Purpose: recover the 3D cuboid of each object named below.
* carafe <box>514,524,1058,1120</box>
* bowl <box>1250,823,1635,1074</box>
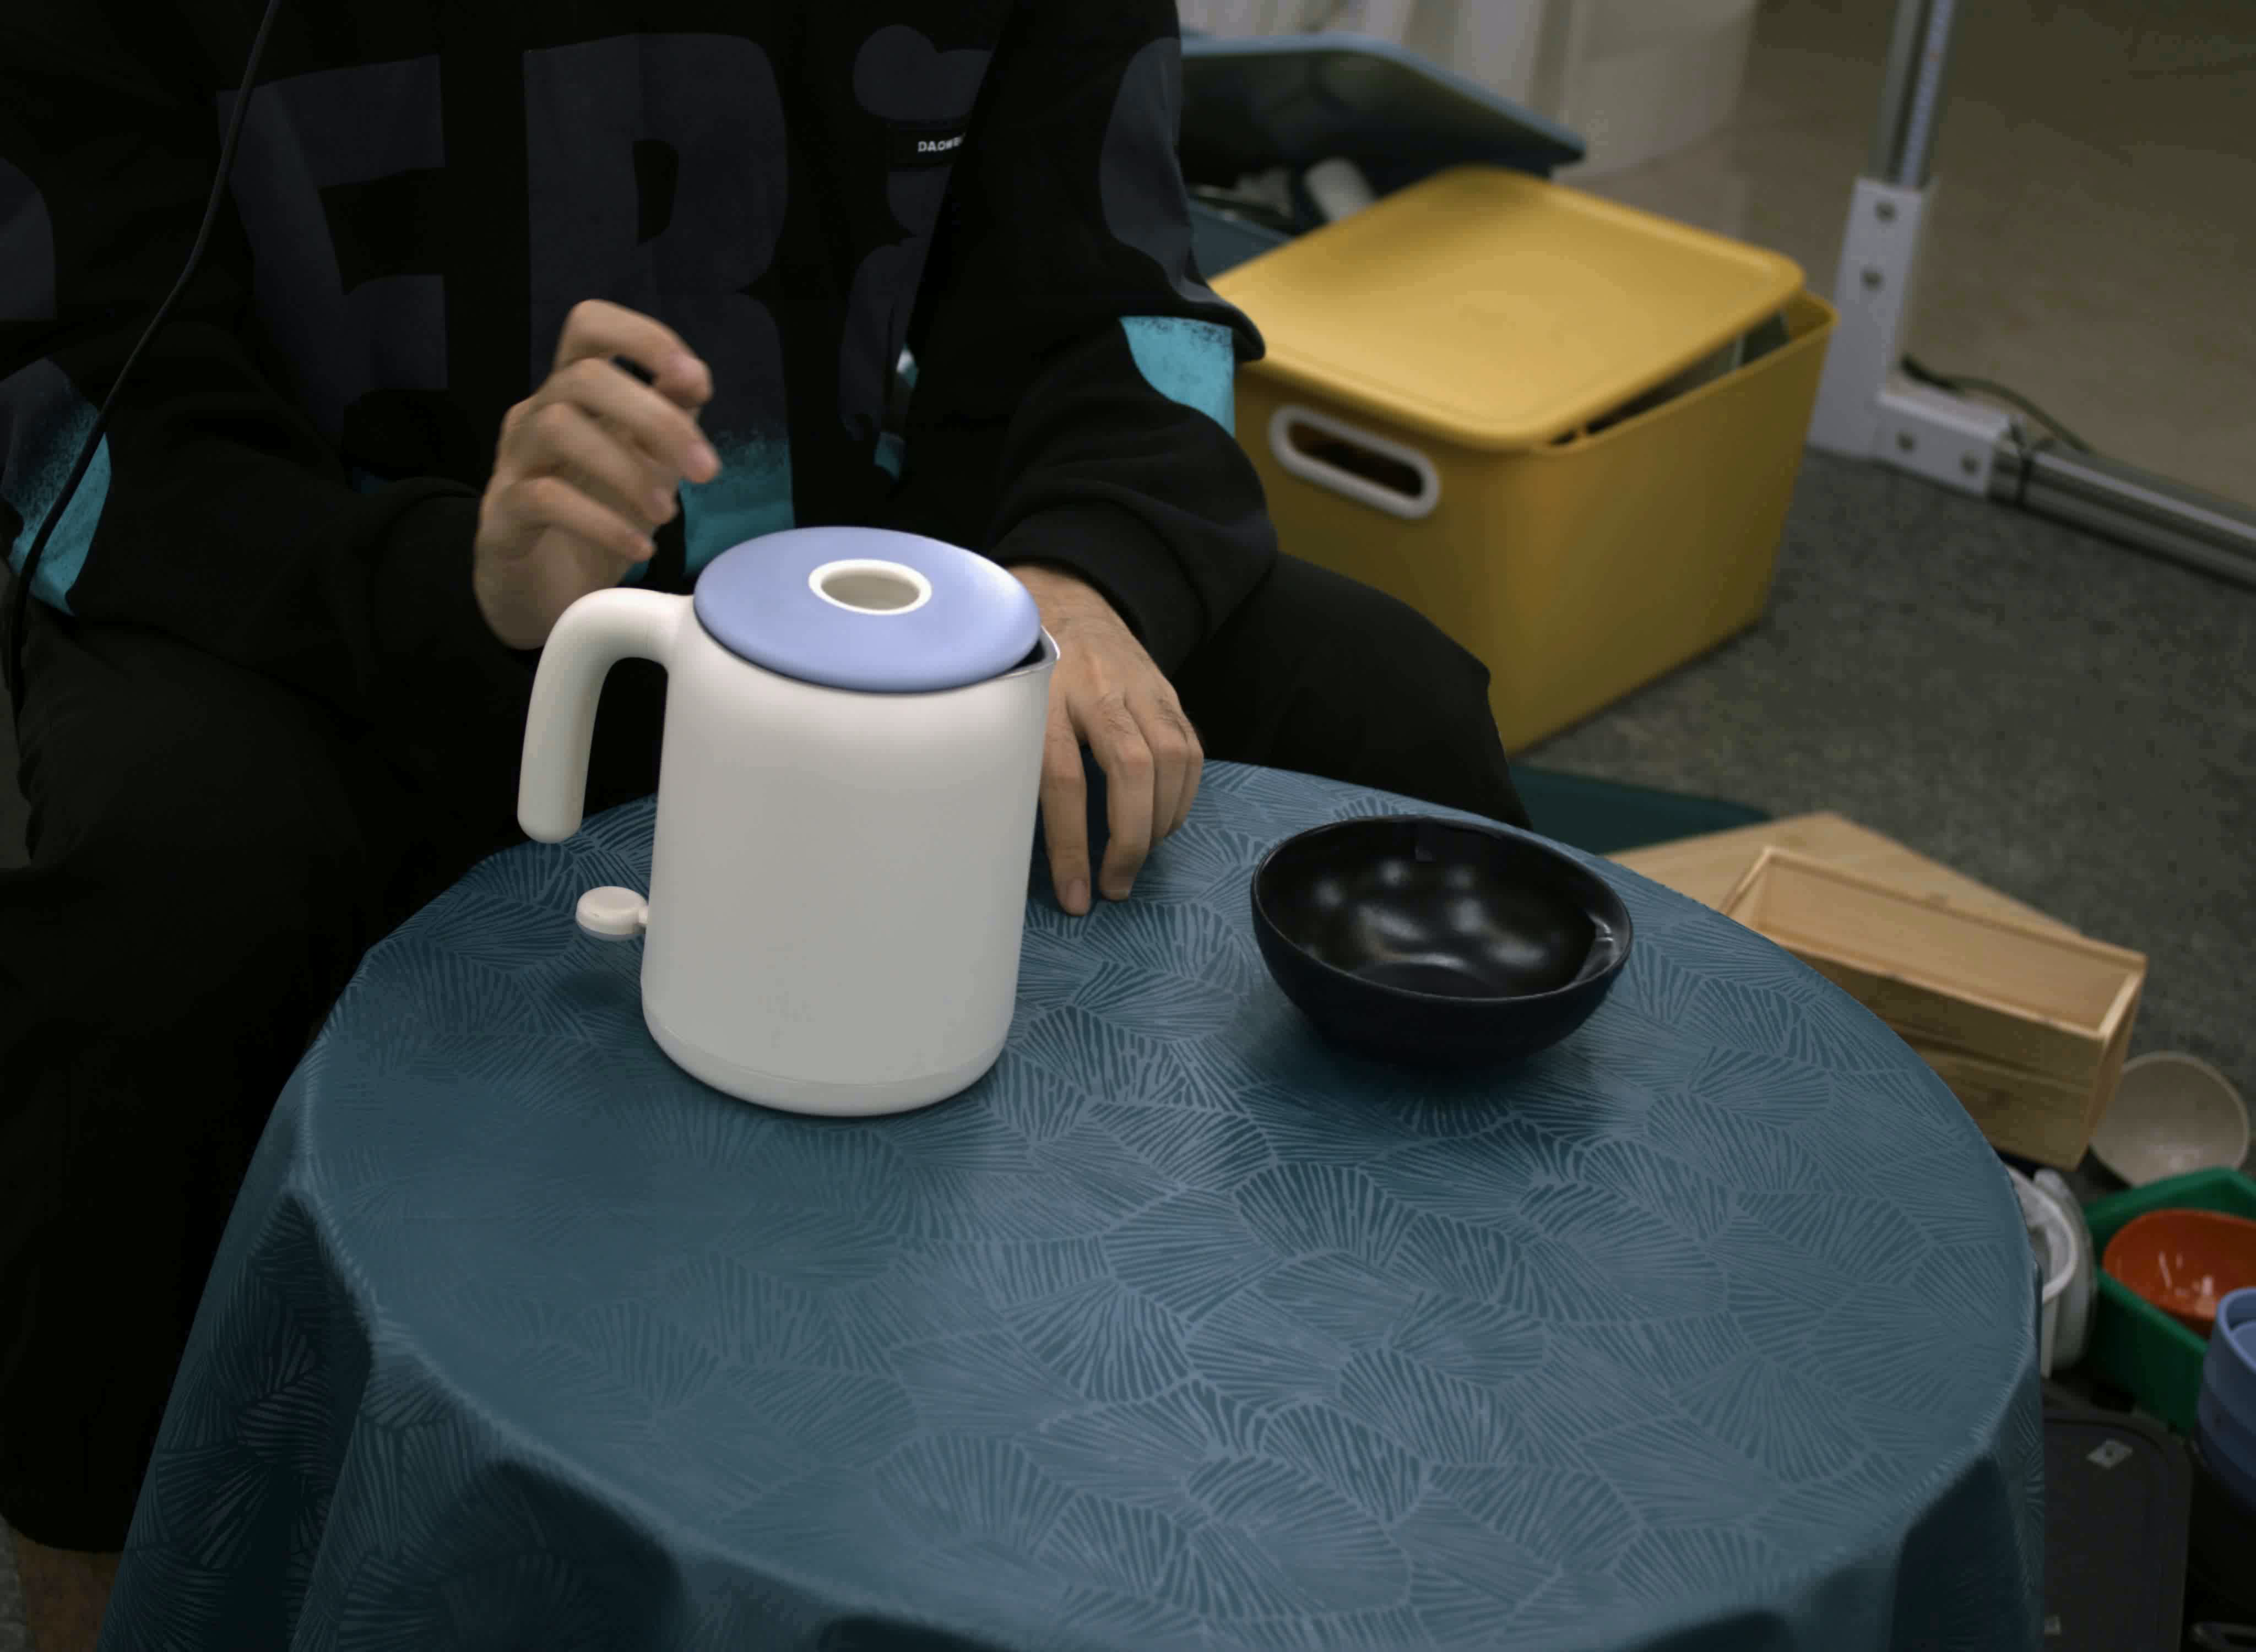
[{"bbox_3d":[-0.121,-0.006,1.840,0.191,0.182,0.132,10,26,12],"label":"carafe"},{"bbox_3d":[0.111,0.051,1.914,0.139,0.049,0.141,4,26,-2],"label":"bowl"}]
